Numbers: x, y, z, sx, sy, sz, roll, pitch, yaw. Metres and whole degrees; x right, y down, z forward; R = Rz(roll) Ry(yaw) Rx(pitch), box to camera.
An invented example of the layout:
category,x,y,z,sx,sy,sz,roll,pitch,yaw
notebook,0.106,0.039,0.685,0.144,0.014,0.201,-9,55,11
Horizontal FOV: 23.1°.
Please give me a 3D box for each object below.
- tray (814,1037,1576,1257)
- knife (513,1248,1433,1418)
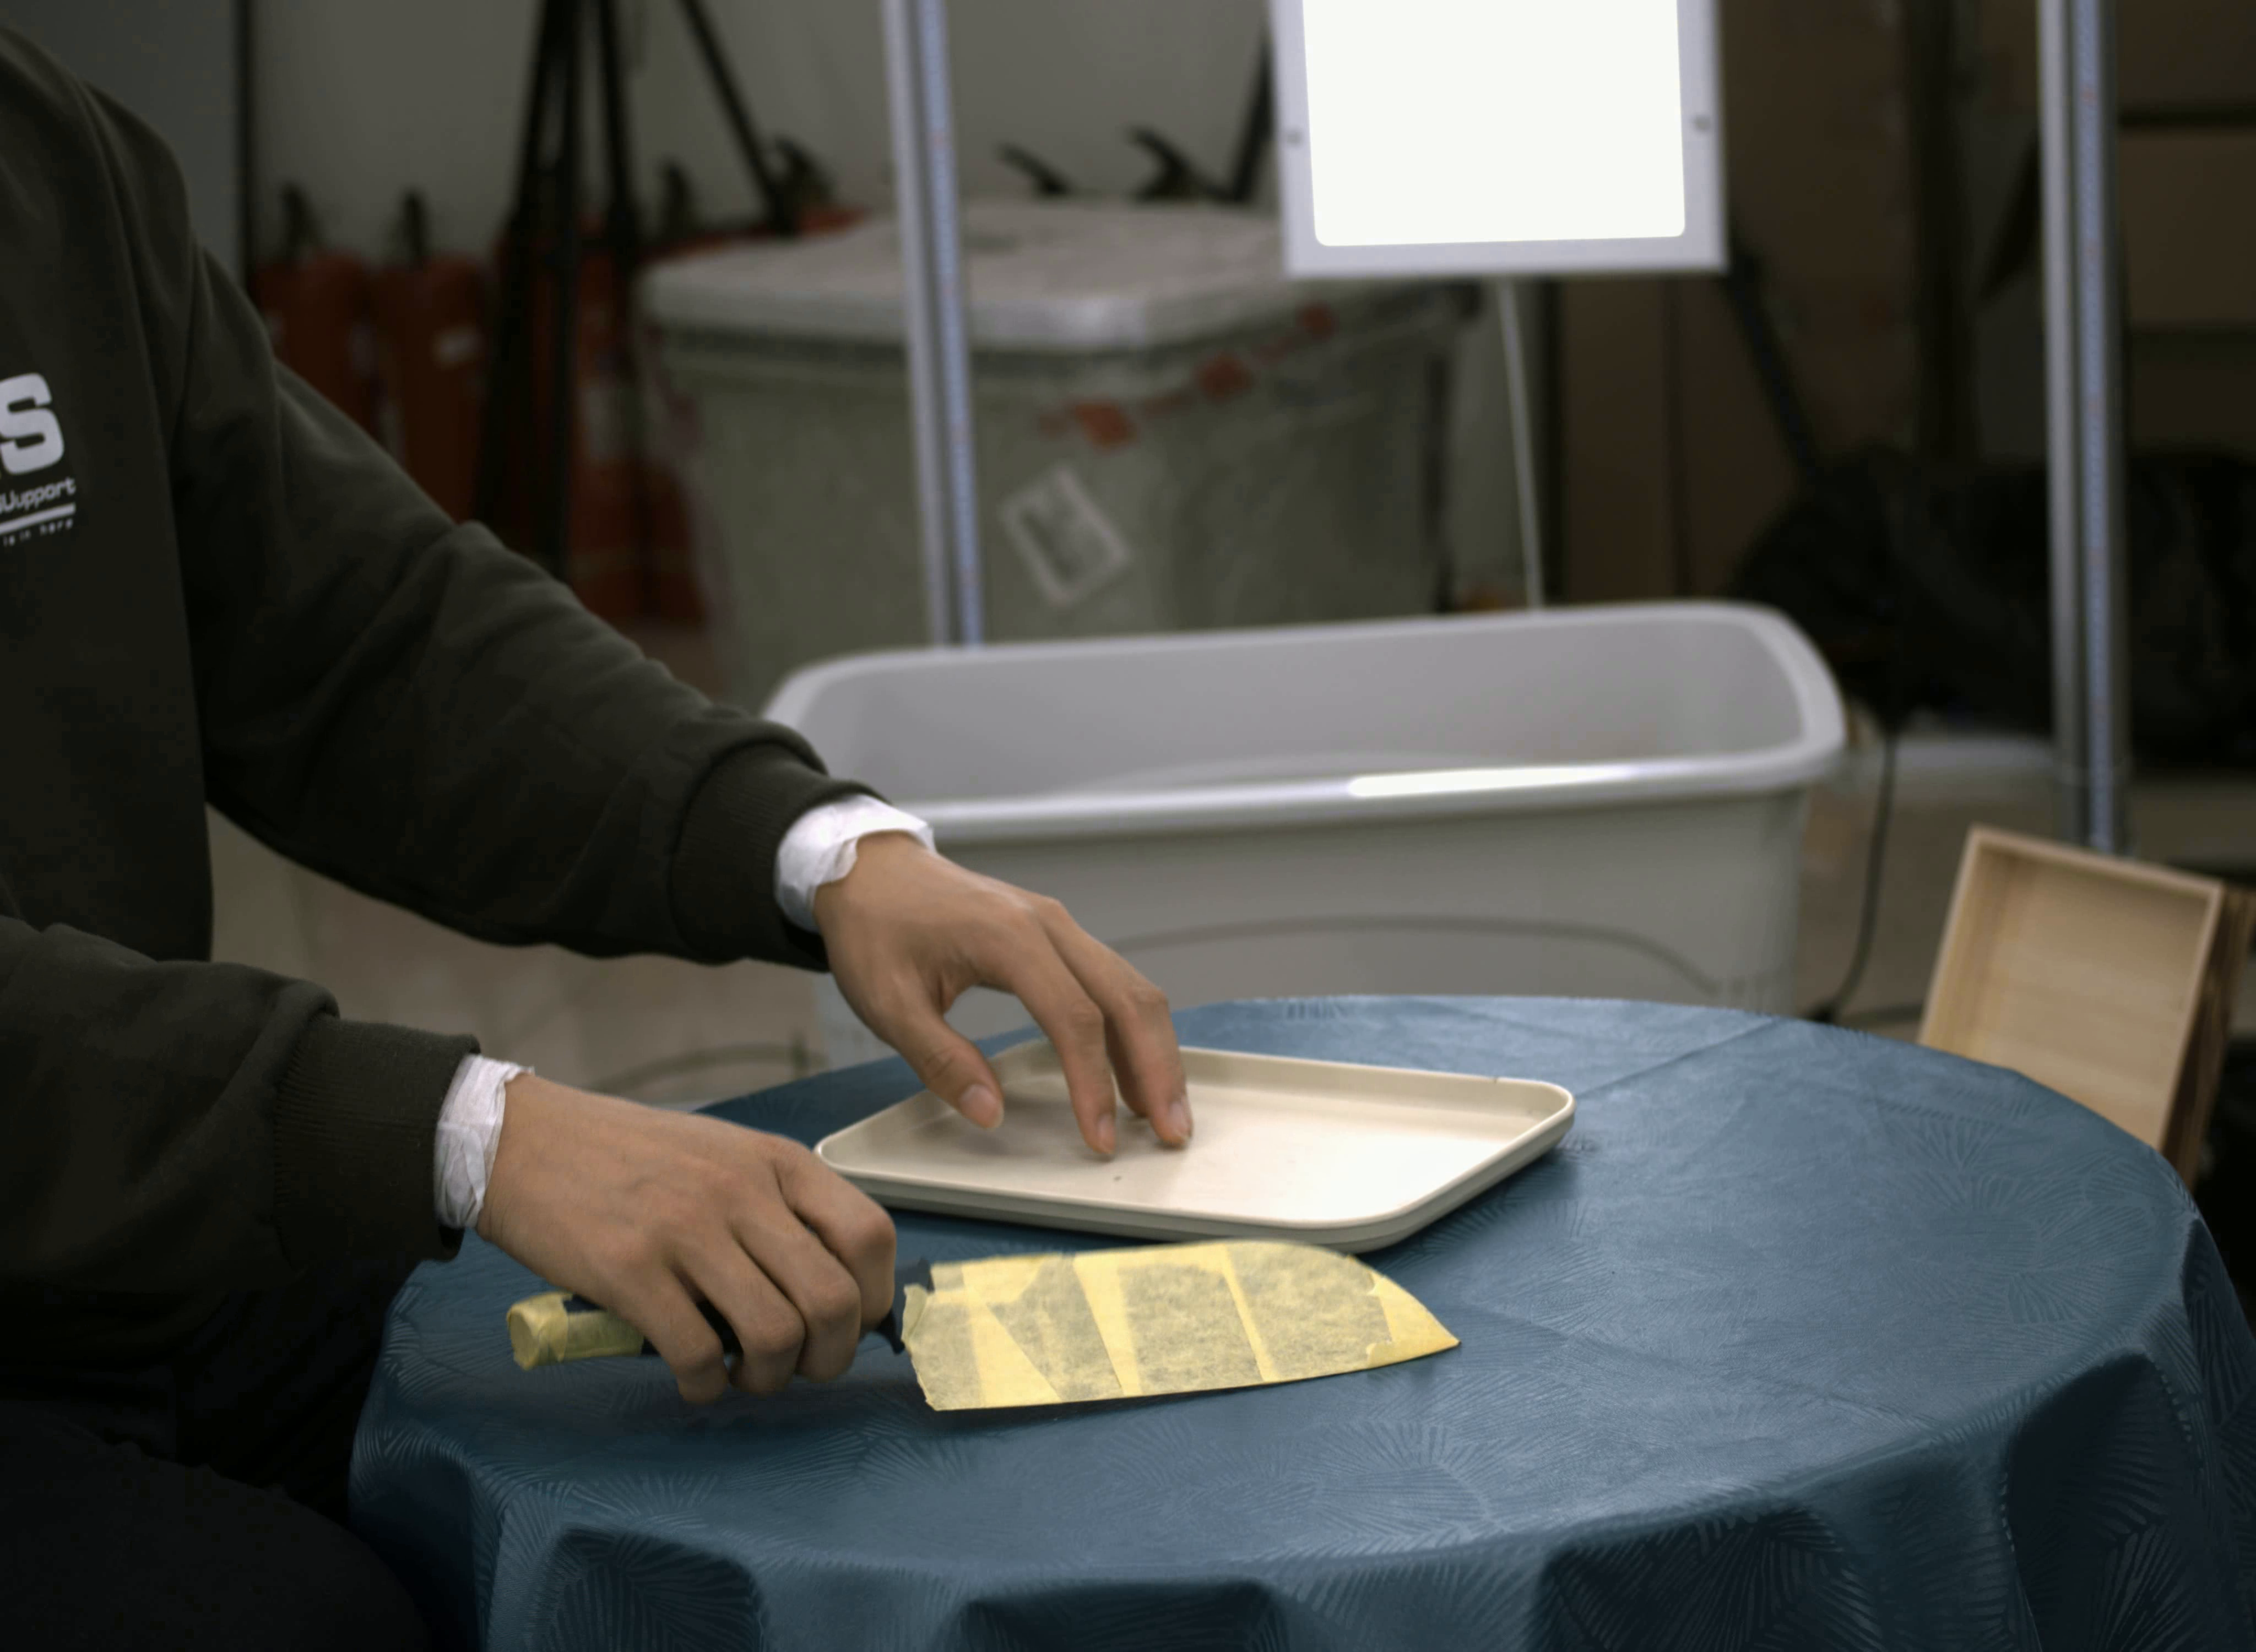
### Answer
category,x,y,z,sx,sy,sz,roll,pitch,yaw
tray,0.024,0.111,1.920,0.244,0.017,0.167,4,17,34
knife,-0.045,0.160,1.712,0.287,0.027,0.081,-4,27,-7
